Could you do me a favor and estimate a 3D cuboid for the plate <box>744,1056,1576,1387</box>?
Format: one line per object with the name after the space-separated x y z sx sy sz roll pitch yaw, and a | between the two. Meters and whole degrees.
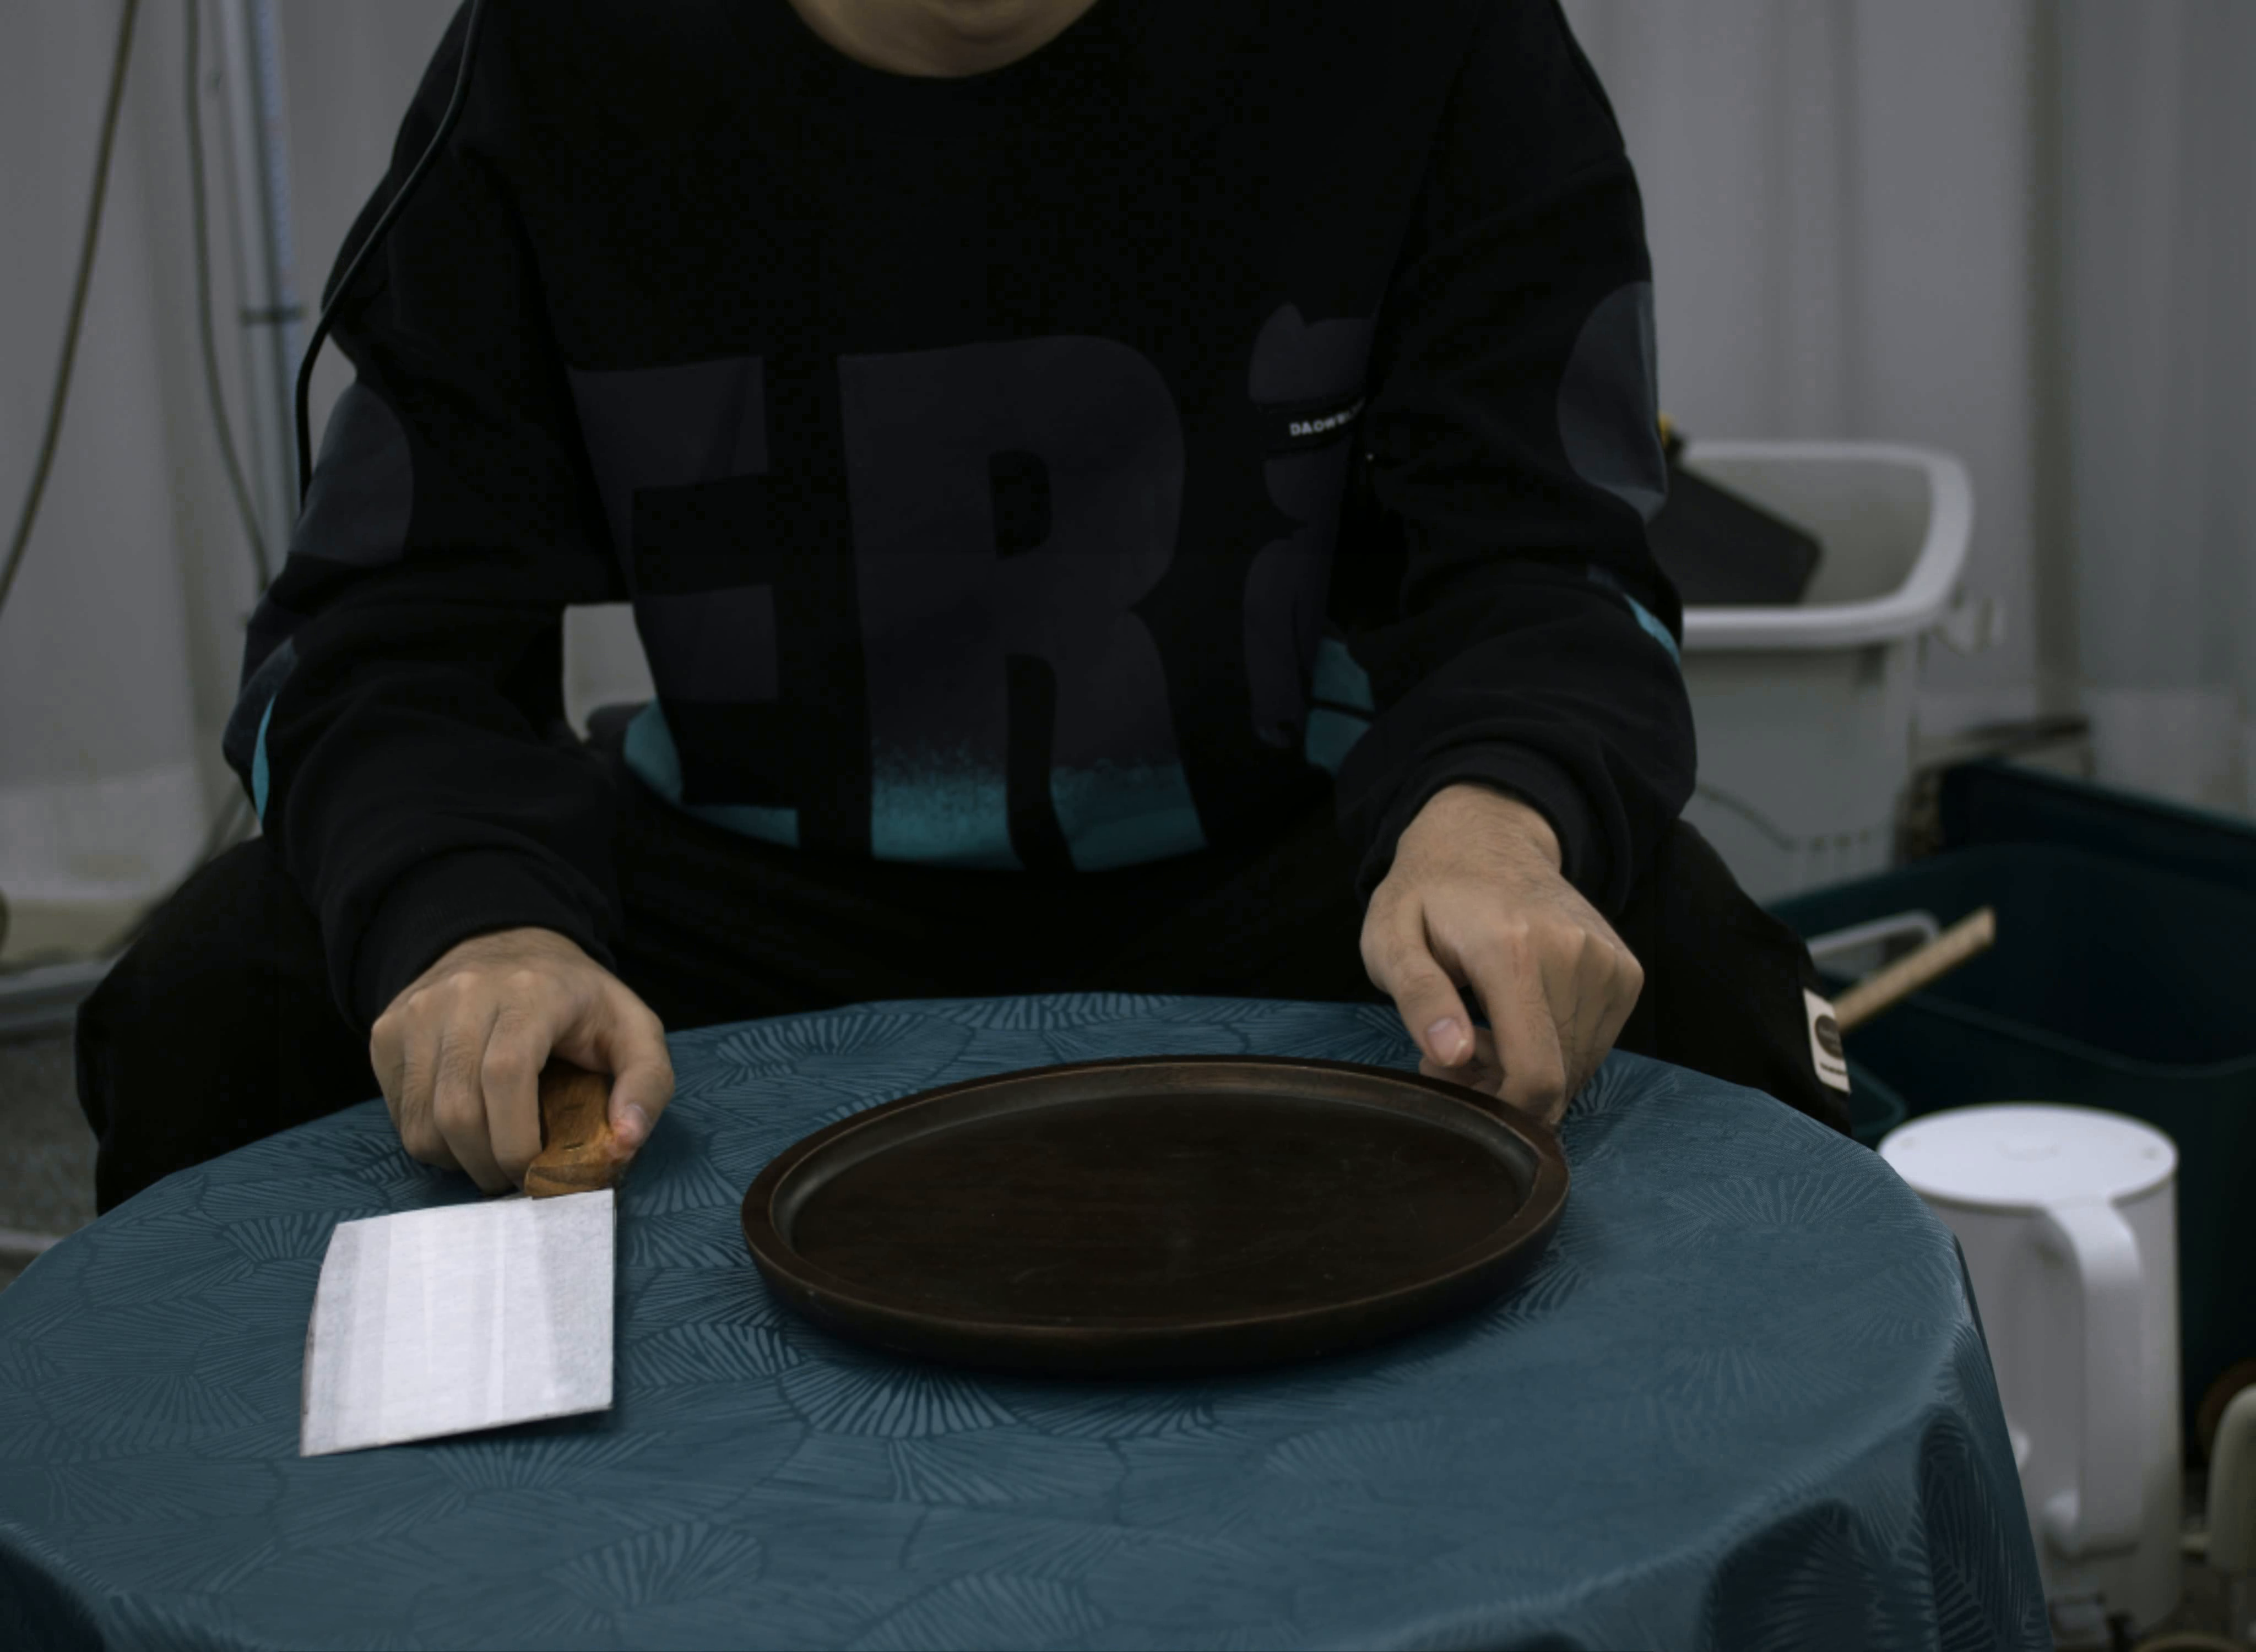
0.010 0.117 1.657 0.254 0.029 0.256 -1 15 0 | plate

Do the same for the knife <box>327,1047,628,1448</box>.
-0.199 0.128 1.678 0.092 0.021 0.308 -9 16 -2 | knife
